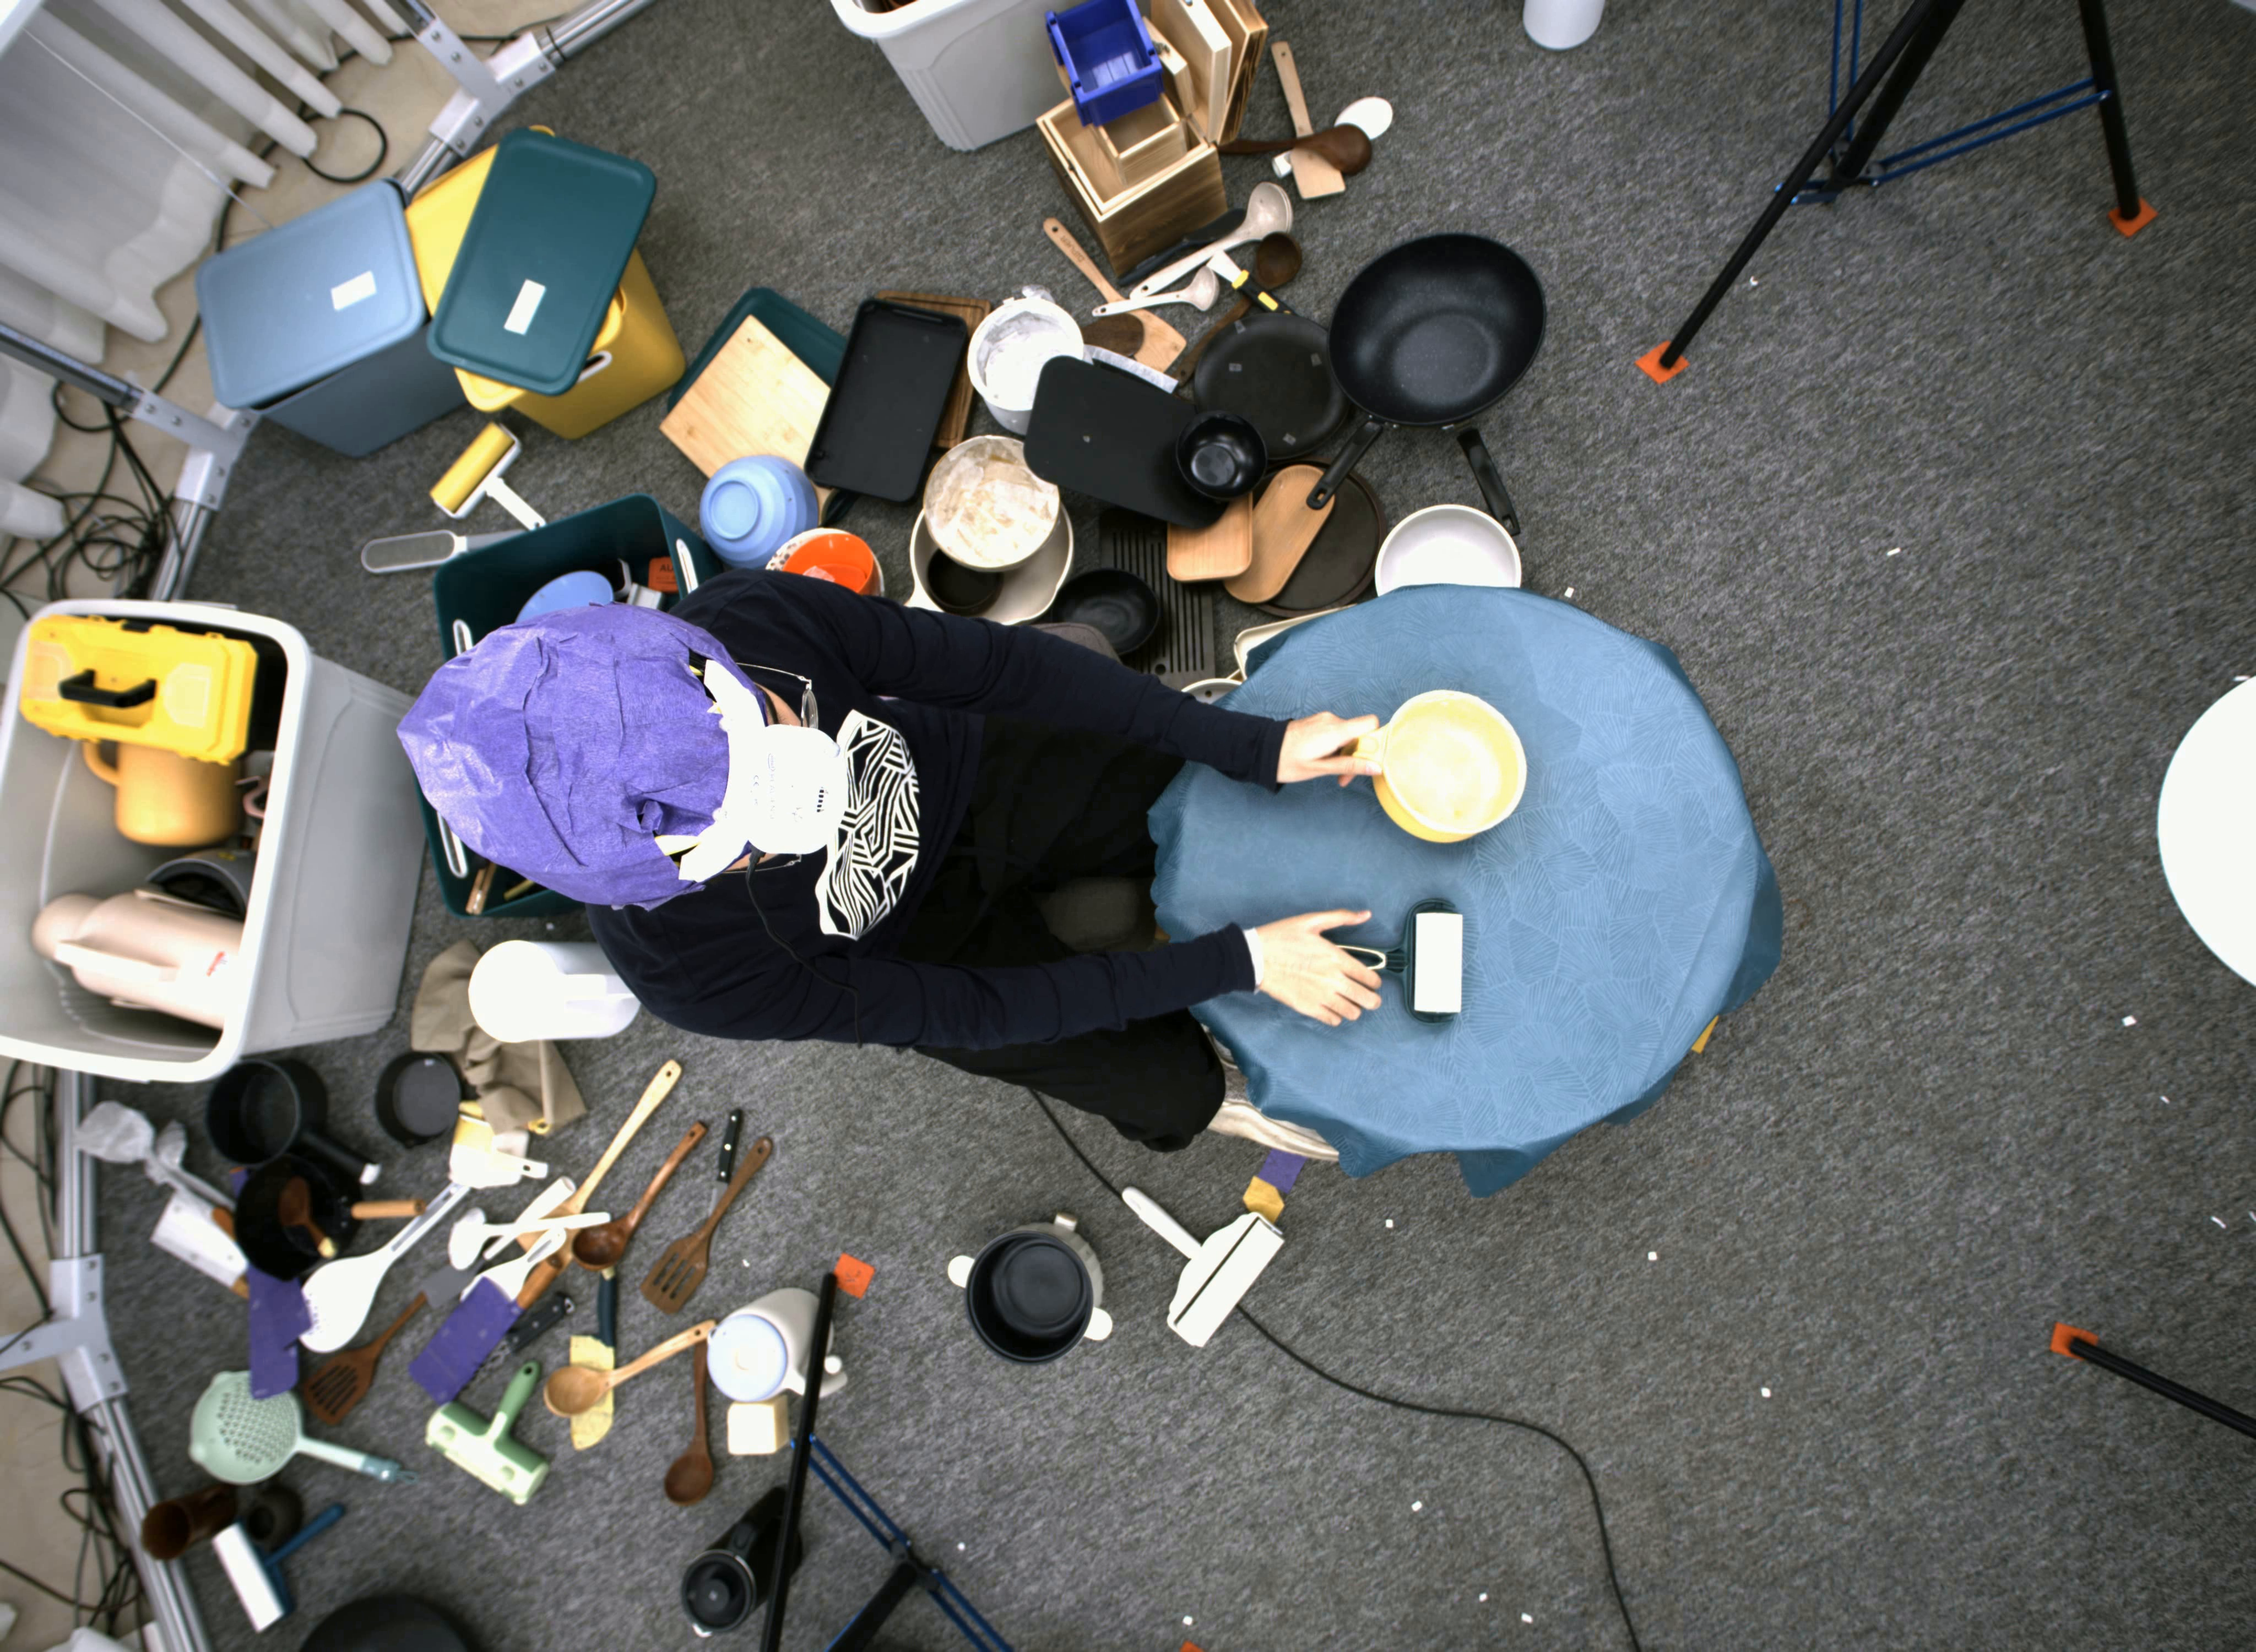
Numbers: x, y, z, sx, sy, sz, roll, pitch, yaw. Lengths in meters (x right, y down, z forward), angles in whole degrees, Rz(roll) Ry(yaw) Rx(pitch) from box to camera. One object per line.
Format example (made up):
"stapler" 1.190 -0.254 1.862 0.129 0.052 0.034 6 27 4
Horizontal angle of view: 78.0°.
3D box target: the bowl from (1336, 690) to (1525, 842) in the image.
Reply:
"bowl" 0.309 -0.061 1.408 0.179 0.075 0.151 4 75 -7

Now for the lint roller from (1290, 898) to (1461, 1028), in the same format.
"lint roller" 0.255 0.139 1.440 0.181 0.048 0.134 0 87 15
